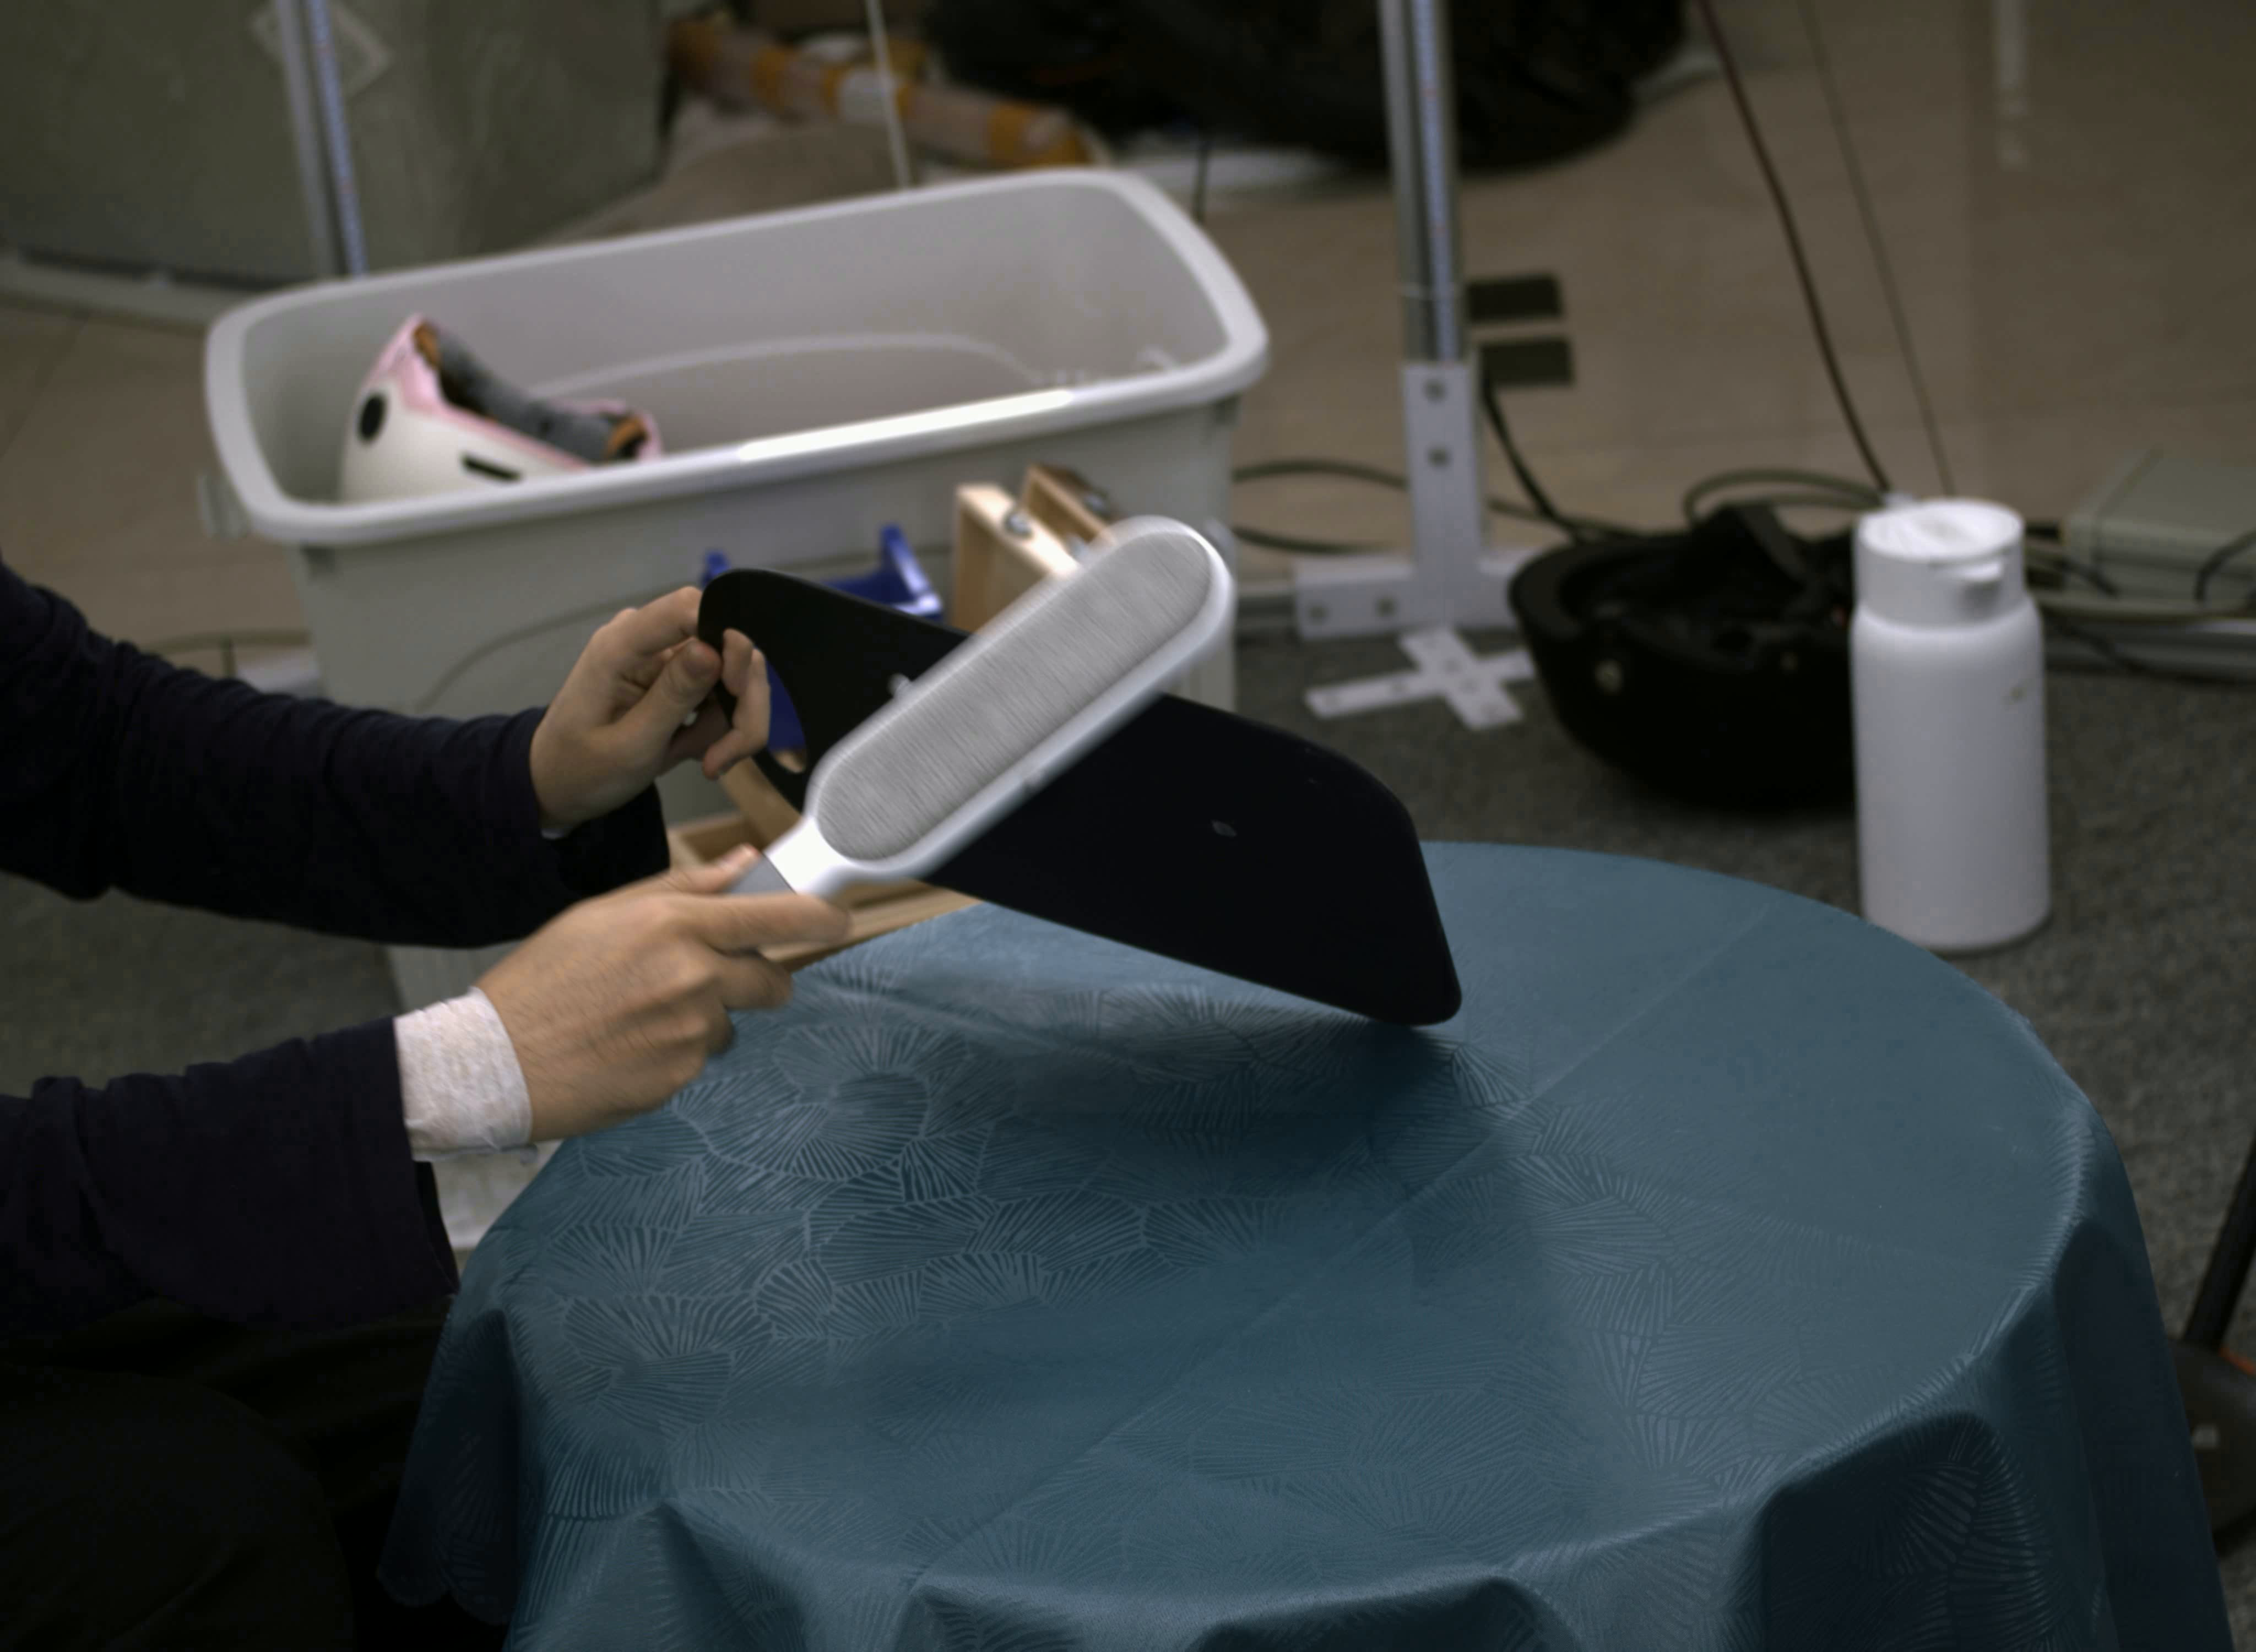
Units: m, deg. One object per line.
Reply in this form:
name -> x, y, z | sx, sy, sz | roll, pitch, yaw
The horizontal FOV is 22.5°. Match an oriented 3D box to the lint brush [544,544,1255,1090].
lint brush -> -0.084, -0.002, 2.048 | 0.308, 0.021, 0.059 | -36, 69, -1

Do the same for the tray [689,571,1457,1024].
tray -> -0.027, -0.014, 2.215 | 0.323, 0.215, 0.009 | 17, 64, 23
